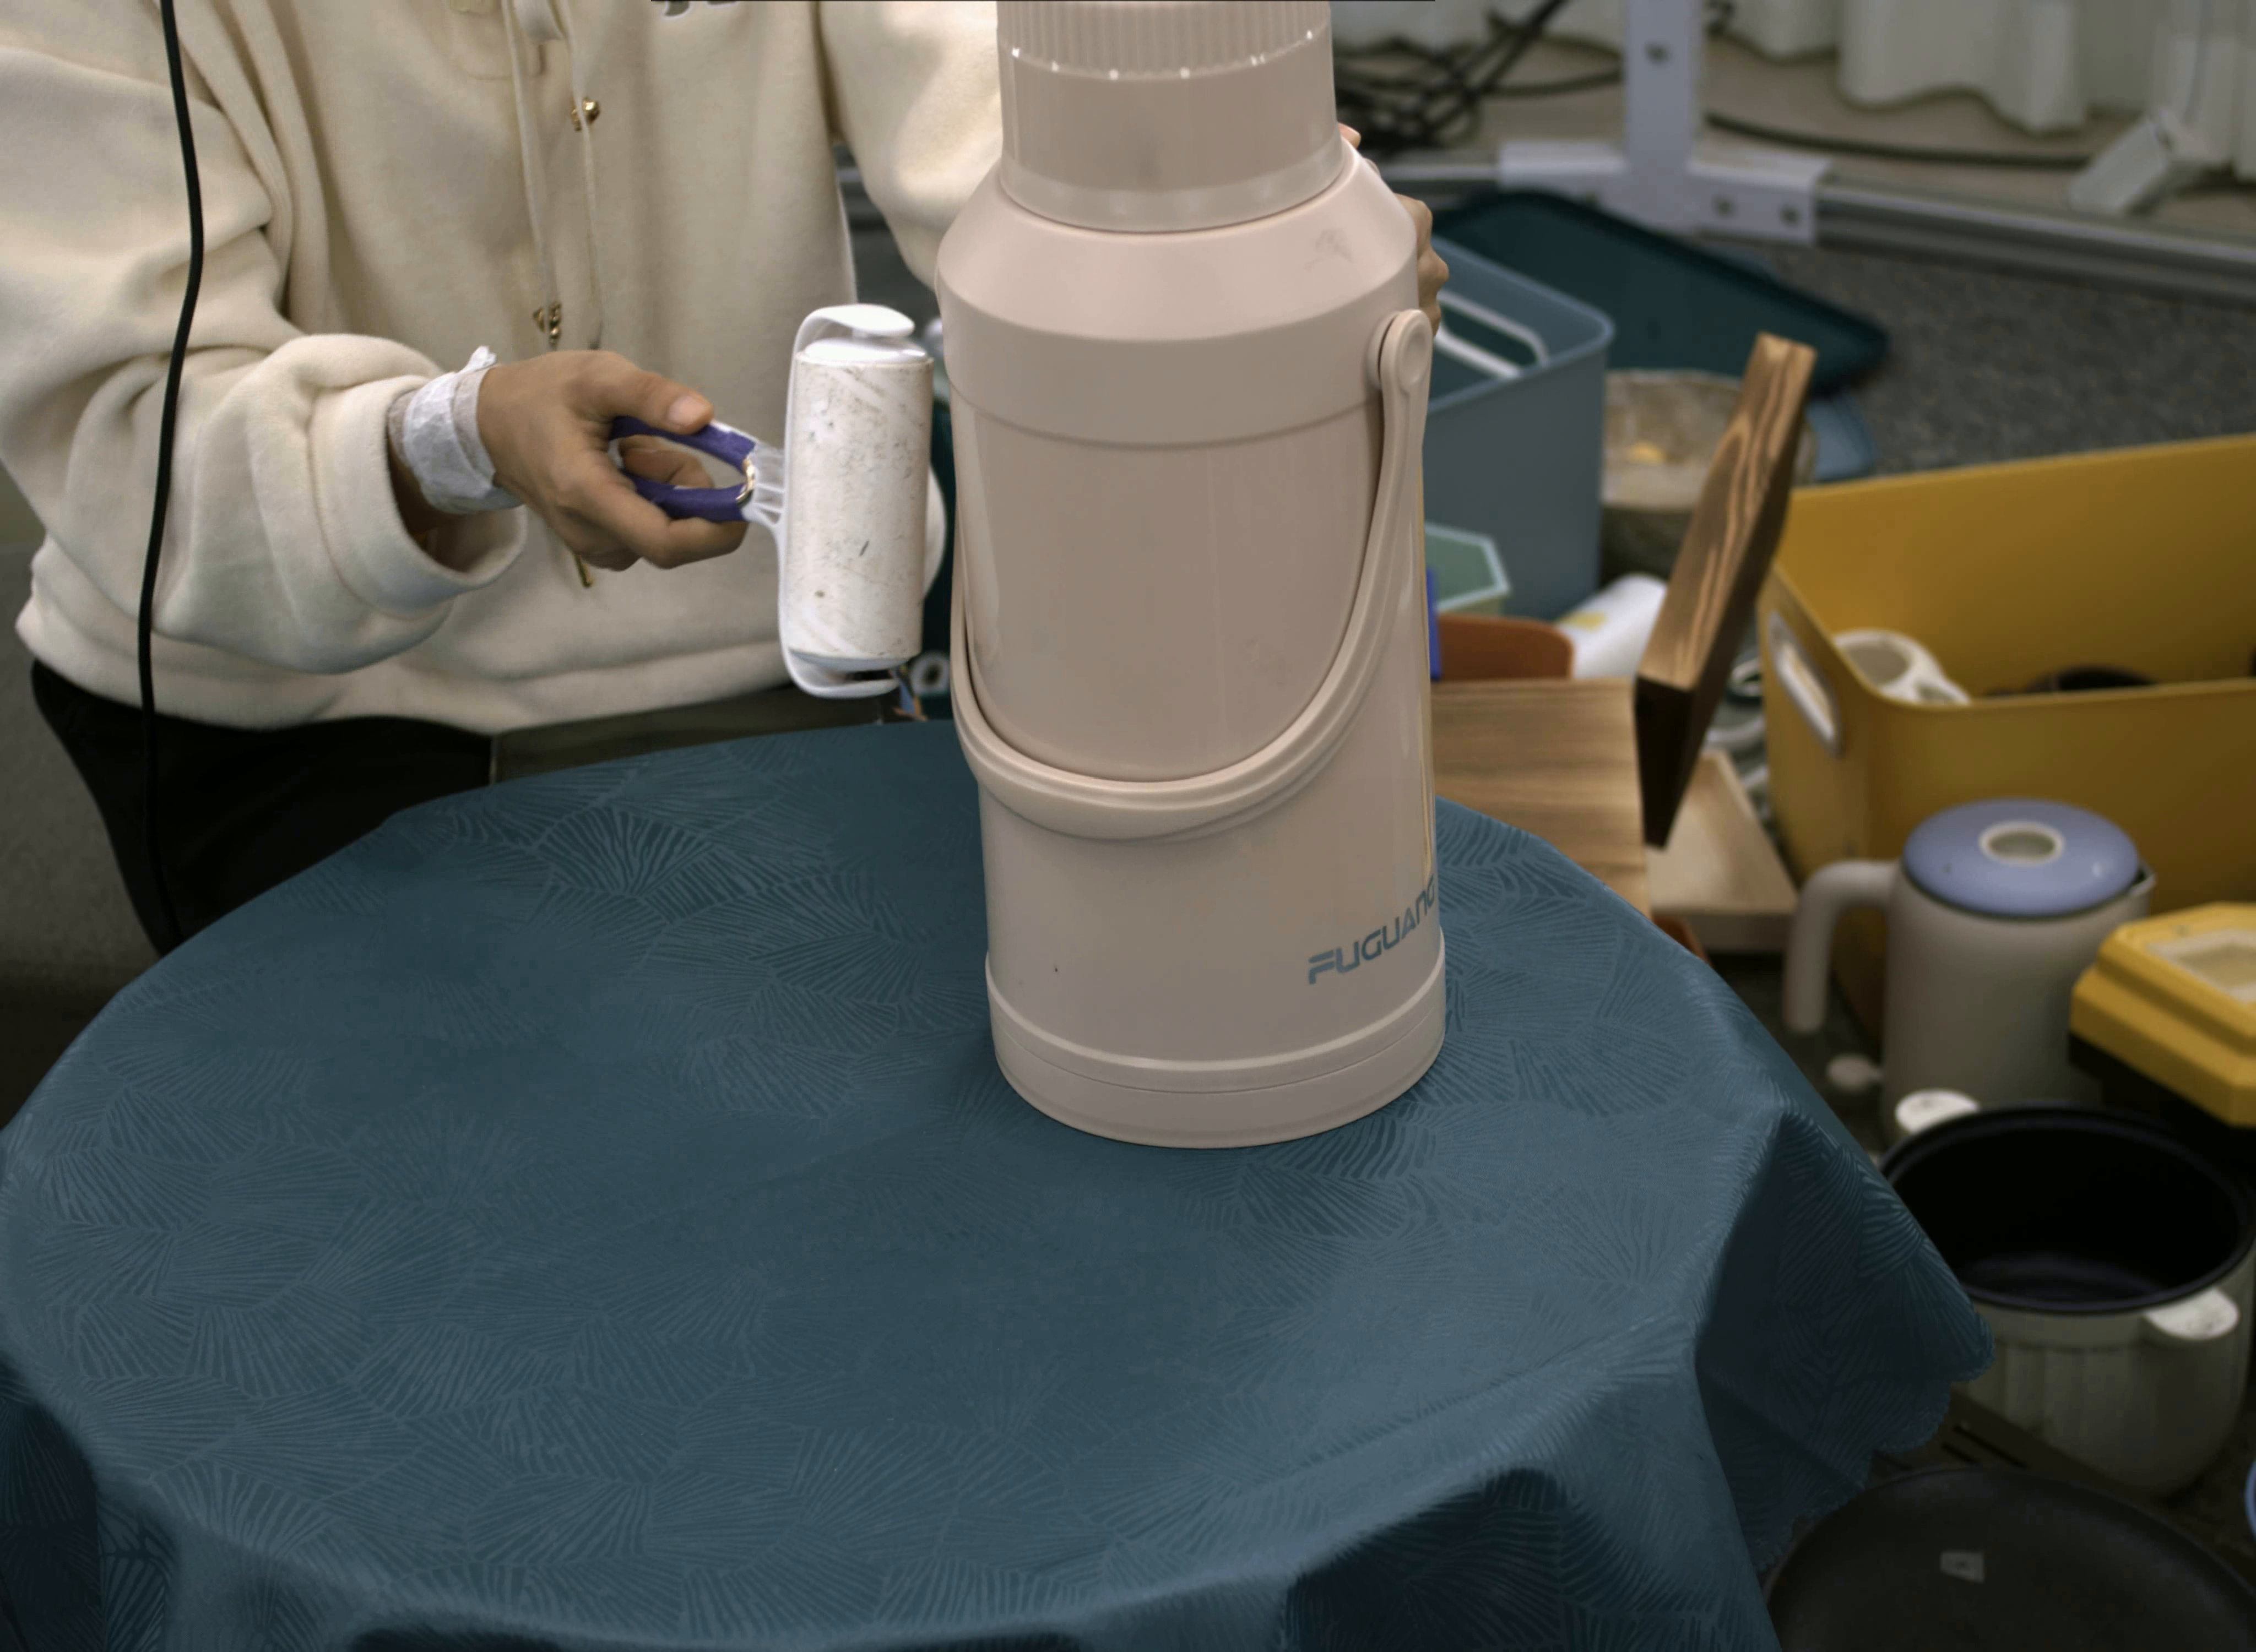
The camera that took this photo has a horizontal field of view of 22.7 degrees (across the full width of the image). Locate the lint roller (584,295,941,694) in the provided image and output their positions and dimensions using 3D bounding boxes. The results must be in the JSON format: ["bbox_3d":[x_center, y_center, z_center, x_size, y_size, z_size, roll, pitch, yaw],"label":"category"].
[{"bbox_3d":[-0.136,-0.122,1.922,0.180,0.132,0.050,13,14,39],"label":"lint roller"}]

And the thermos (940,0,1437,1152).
[{"bbox_3d":[0.029,-0.108,1.877,0.174,0.402,0.210,12,30,29],"label":"thermos"}]
